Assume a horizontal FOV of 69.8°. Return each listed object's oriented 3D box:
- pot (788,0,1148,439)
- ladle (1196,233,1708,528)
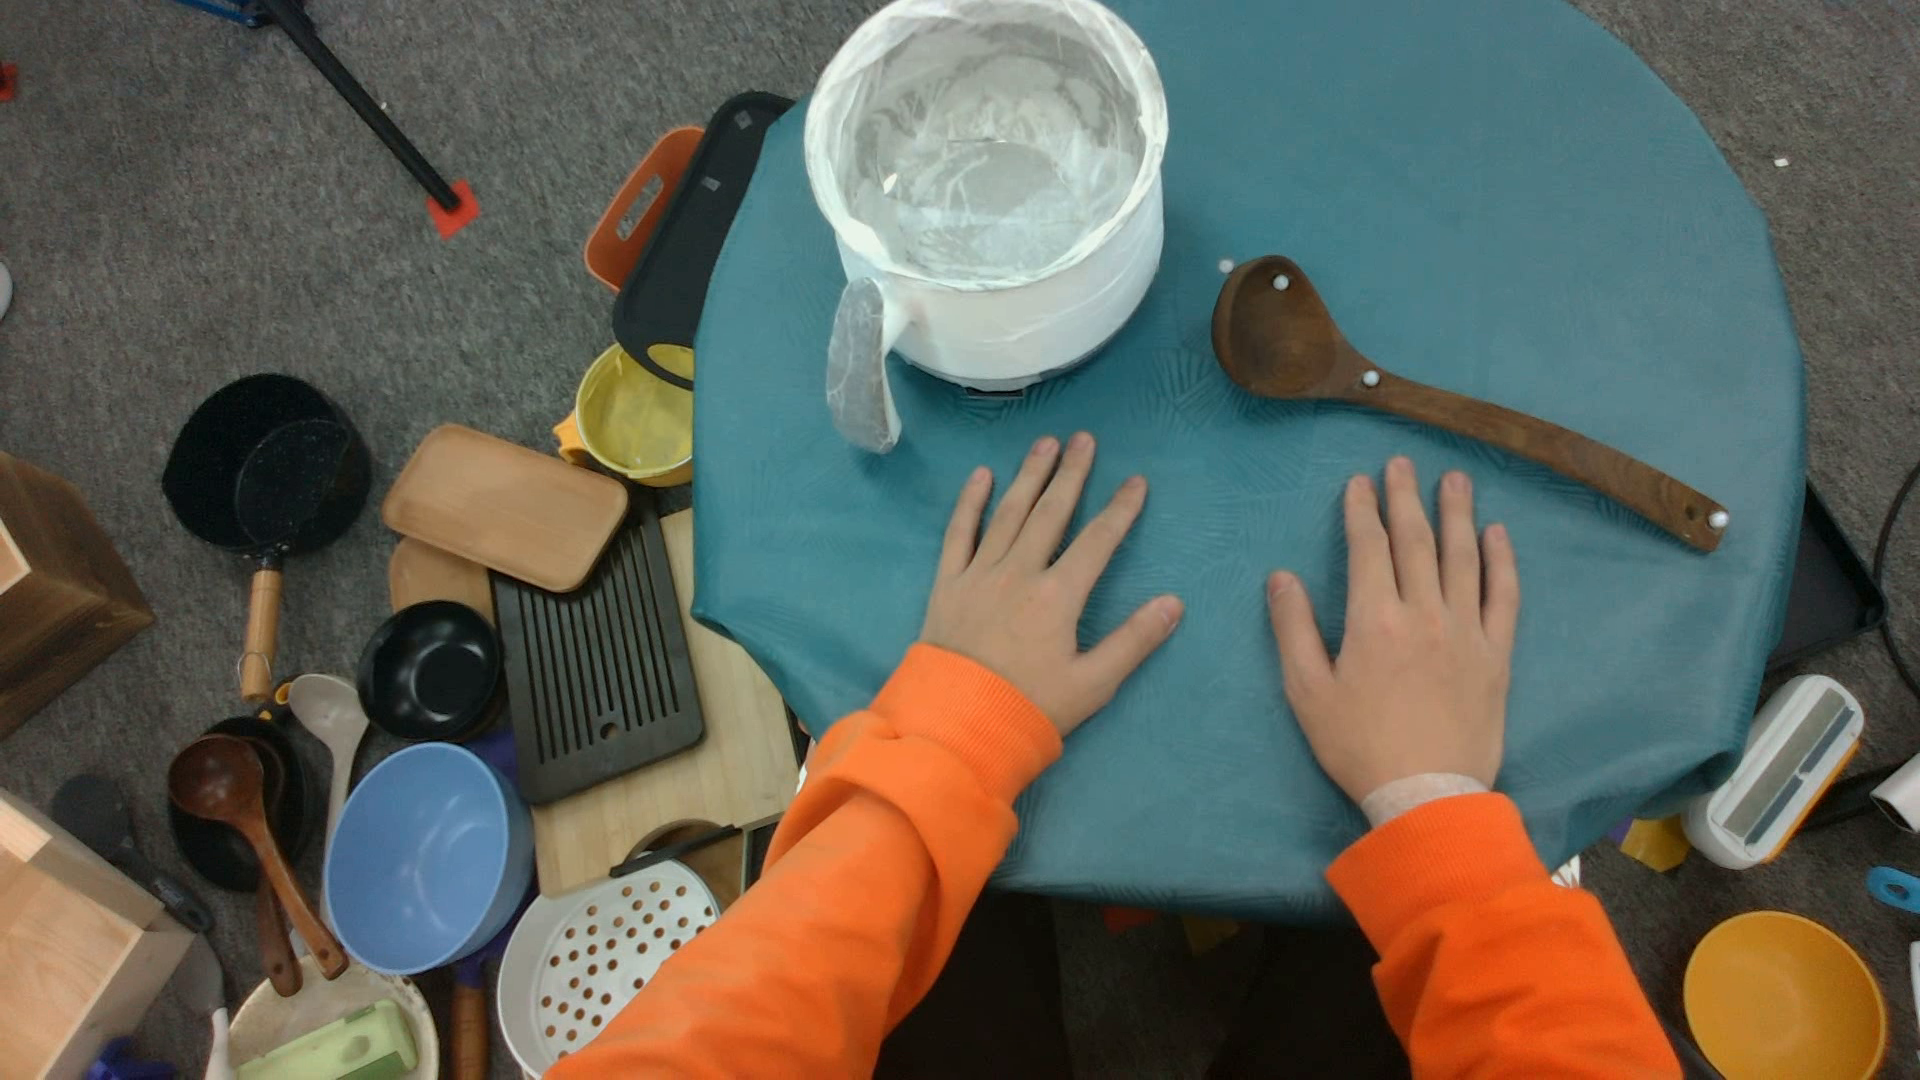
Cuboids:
[{"bbox_3d":[-0.004,-0.165,0.722,0.179,0.136,0.234,29,77,15],"label":"pot"},{"bbox_3d":[0.251,-0.079,0.700,0.274,0.071,0.076,25,80,14],"label":"ladle"}]
